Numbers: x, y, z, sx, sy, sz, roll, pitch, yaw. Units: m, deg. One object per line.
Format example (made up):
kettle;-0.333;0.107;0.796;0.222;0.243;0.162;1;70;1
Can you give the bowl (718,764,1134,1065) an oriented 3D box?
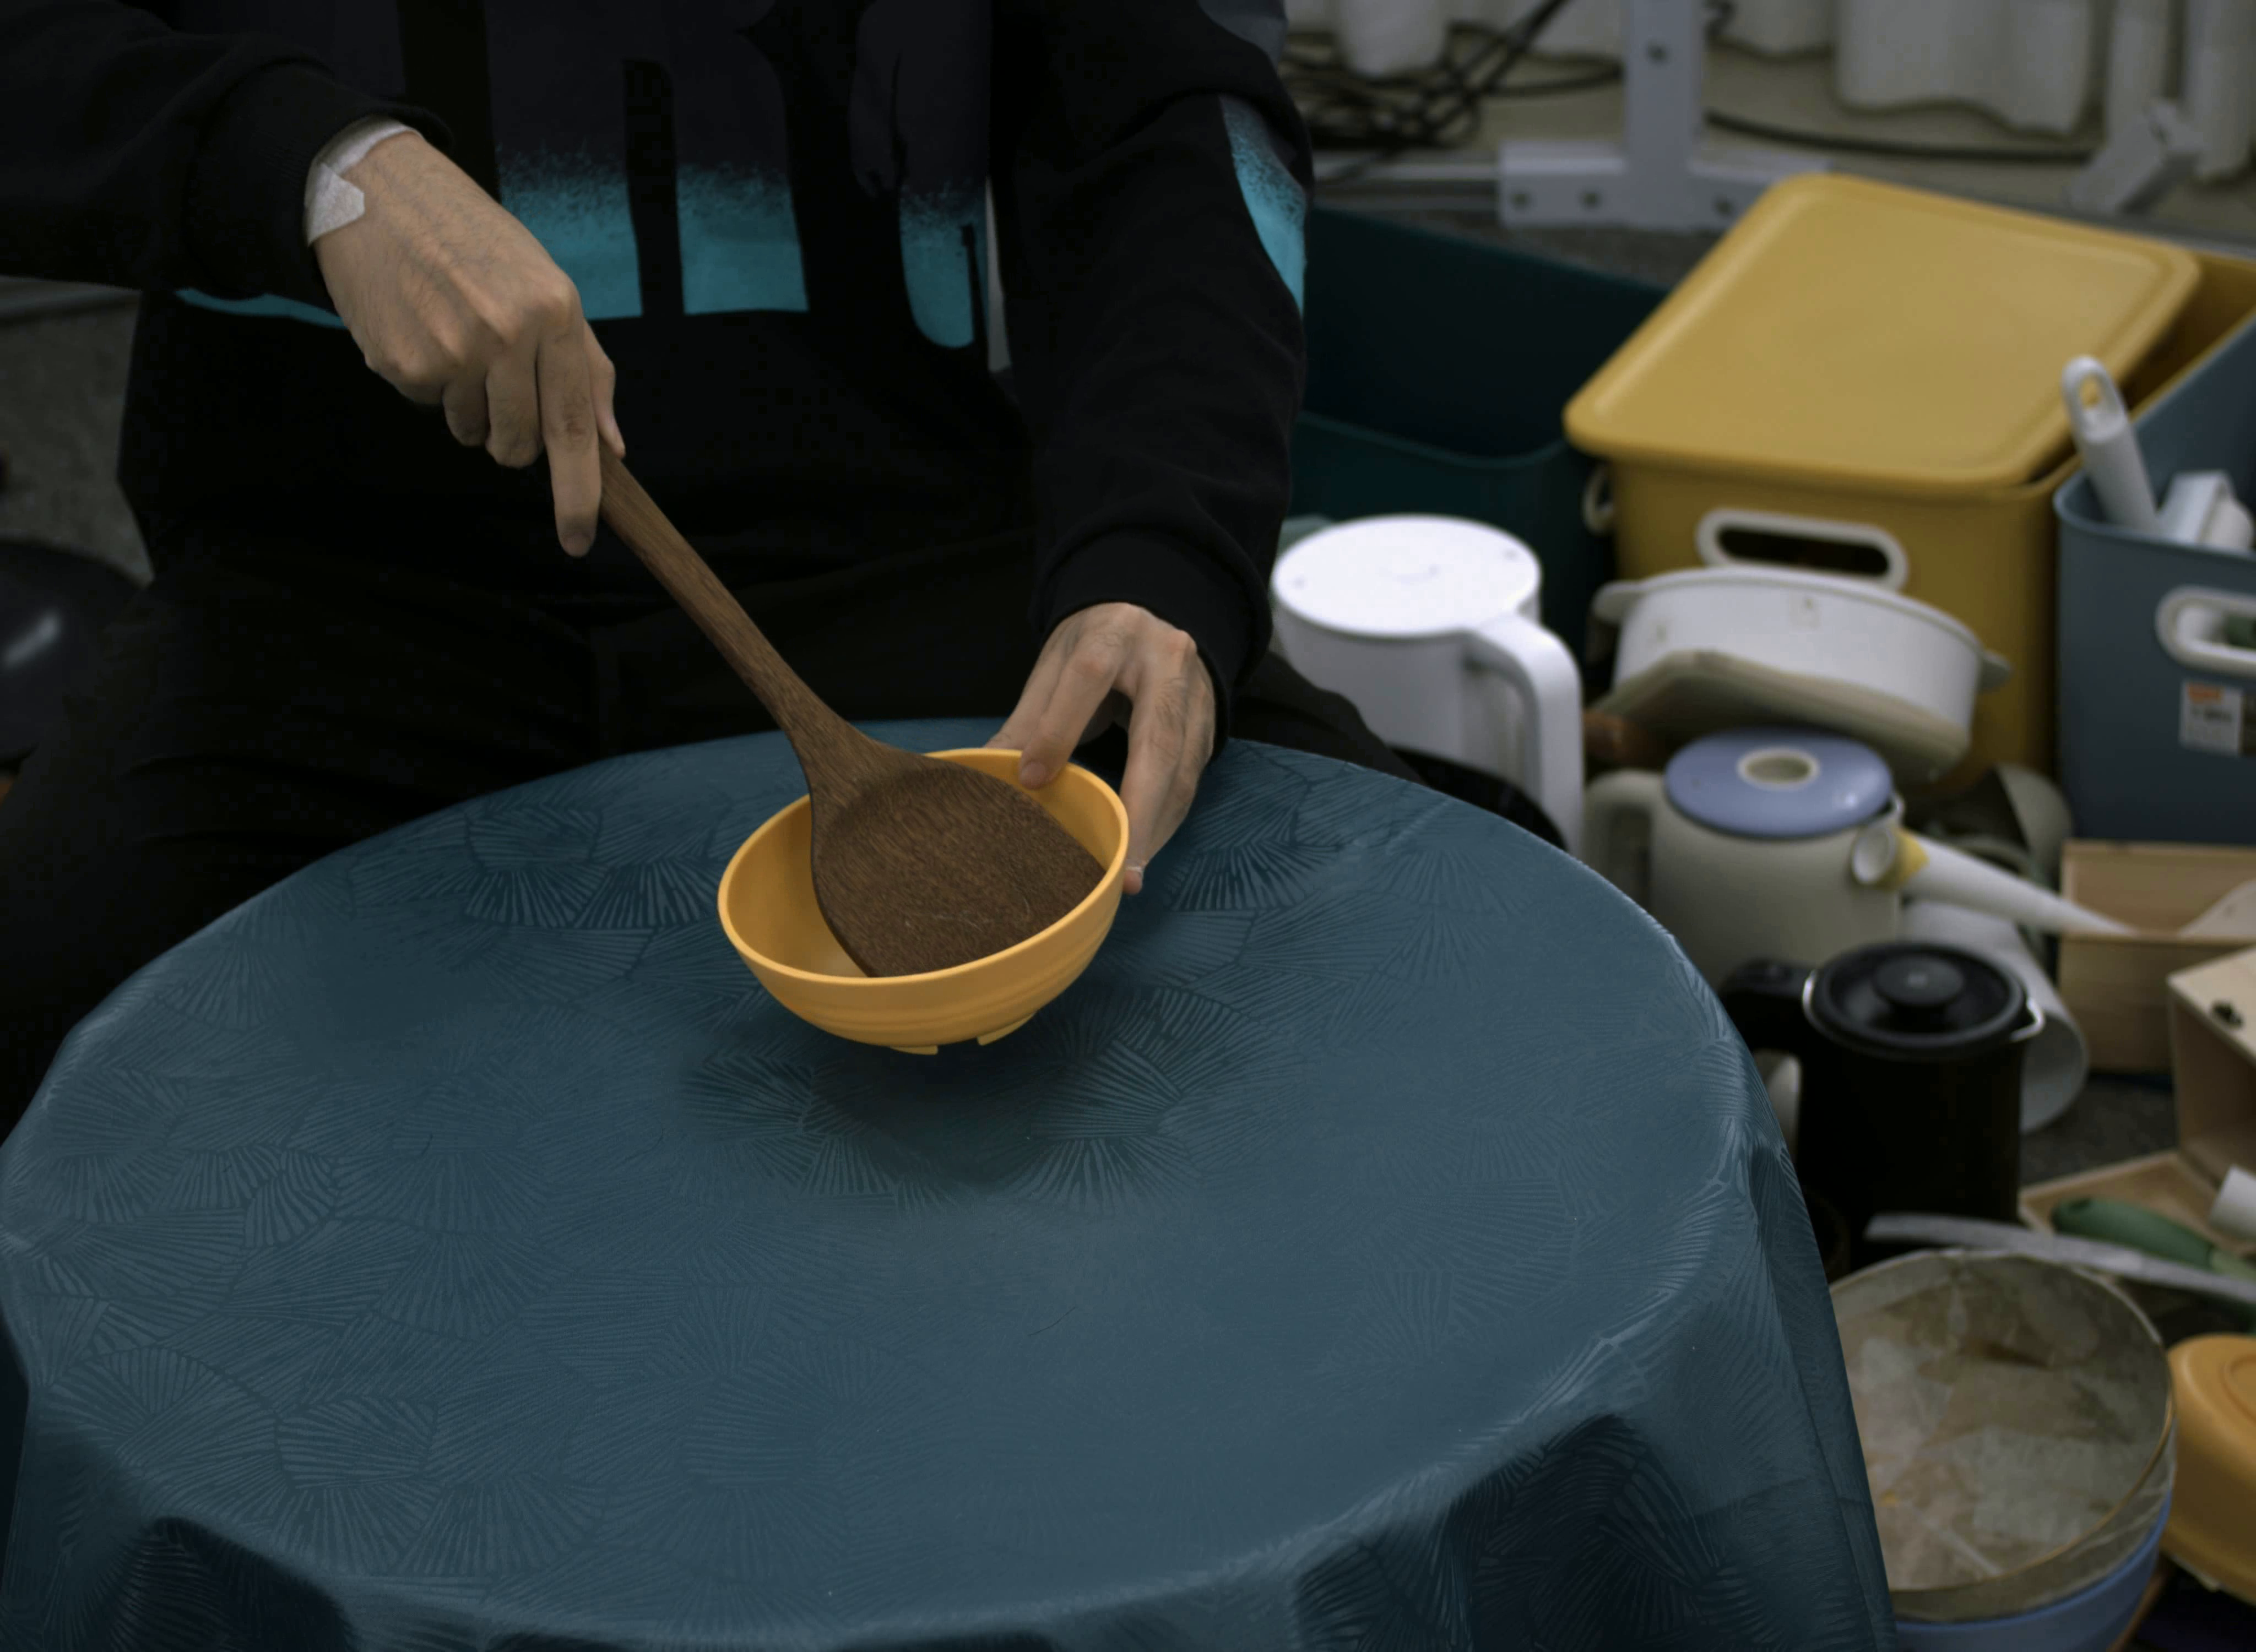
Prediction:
bowl;-0.066;0.040;1.940;0.144;0.059;0.147;-7;29;4

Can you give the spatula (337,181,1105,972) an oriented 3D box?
spatula;-0.156;-0.089;1.974;0.097;0.015;0.388;-33;74;-29
